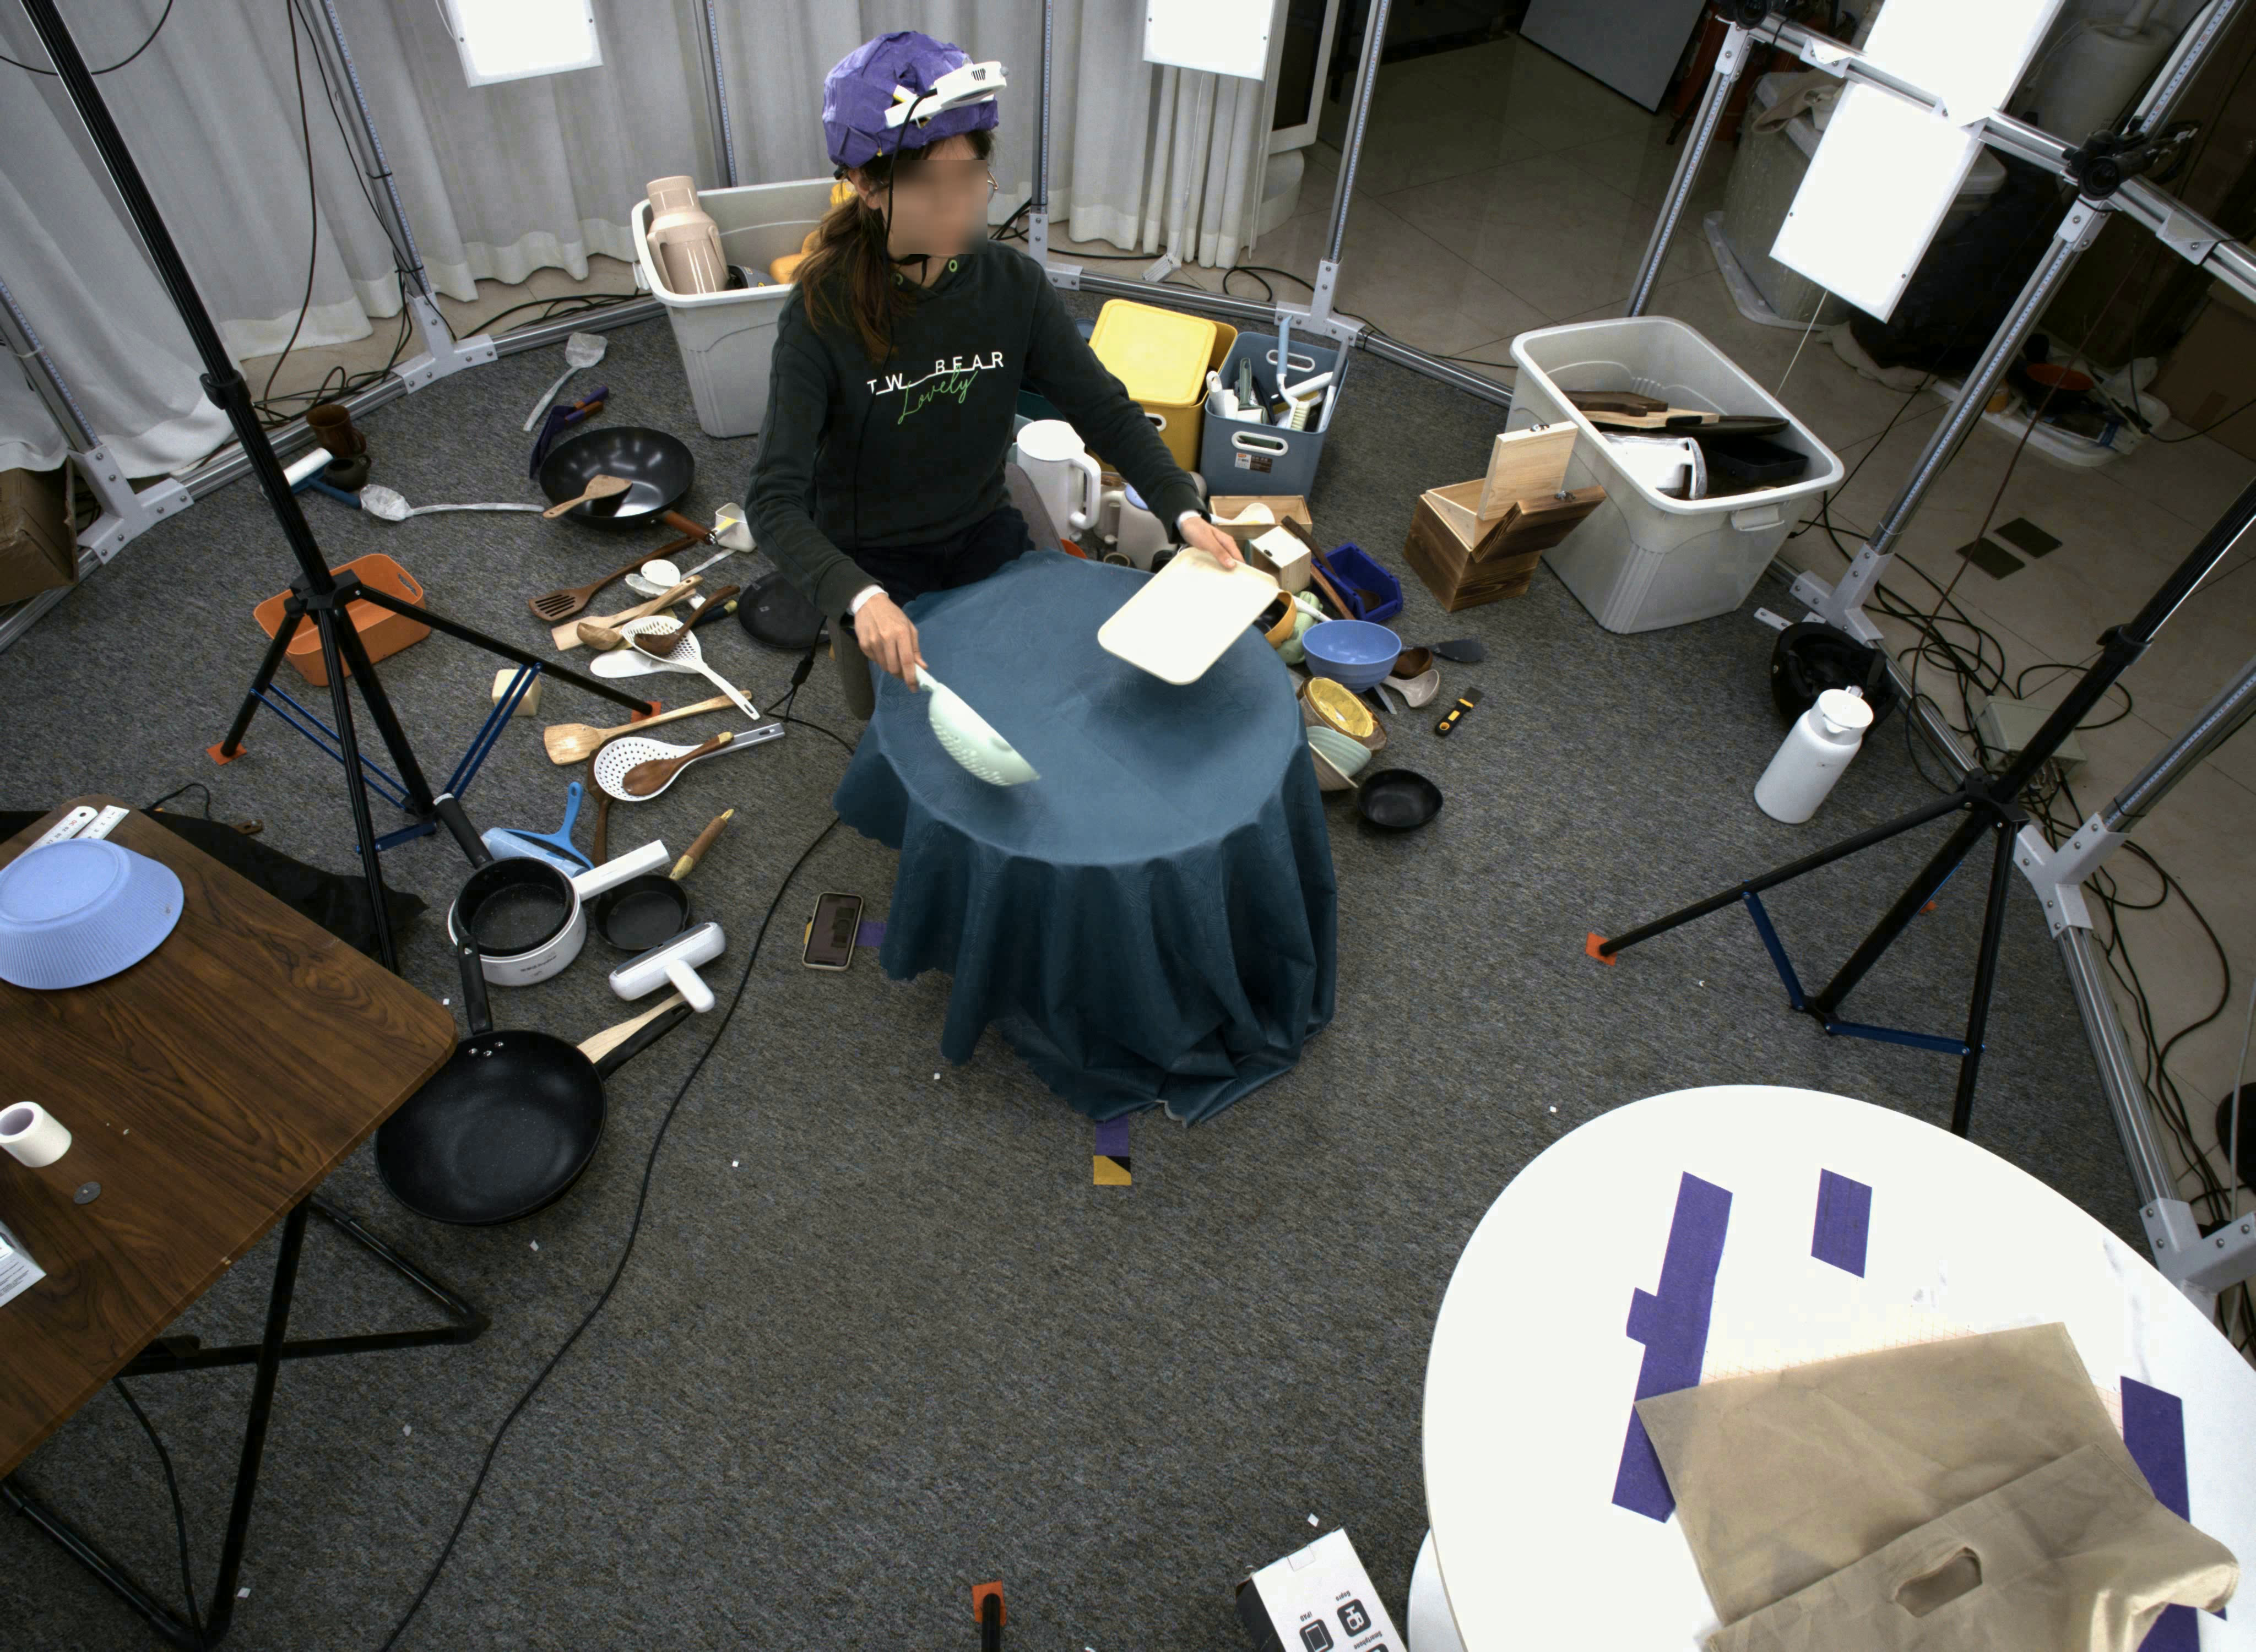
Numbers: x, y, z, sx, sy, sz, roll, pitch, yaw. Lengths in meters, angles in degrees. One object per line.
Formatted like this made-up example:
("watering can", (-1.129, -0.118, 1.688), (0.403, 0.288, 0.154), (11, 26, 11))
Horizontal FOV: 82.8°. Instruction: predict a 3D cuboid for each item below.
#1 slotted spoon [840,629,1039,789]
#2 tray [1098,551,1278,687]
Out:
("slotted spoon", (-0.255, -0.167, 1.668), (0.075, 0.166, 0.365), (-40, 62, -3))
("tray", (0.085, -0.292, 1.805), (0.173, 0.017, 0.242), (29, 60, 27))
